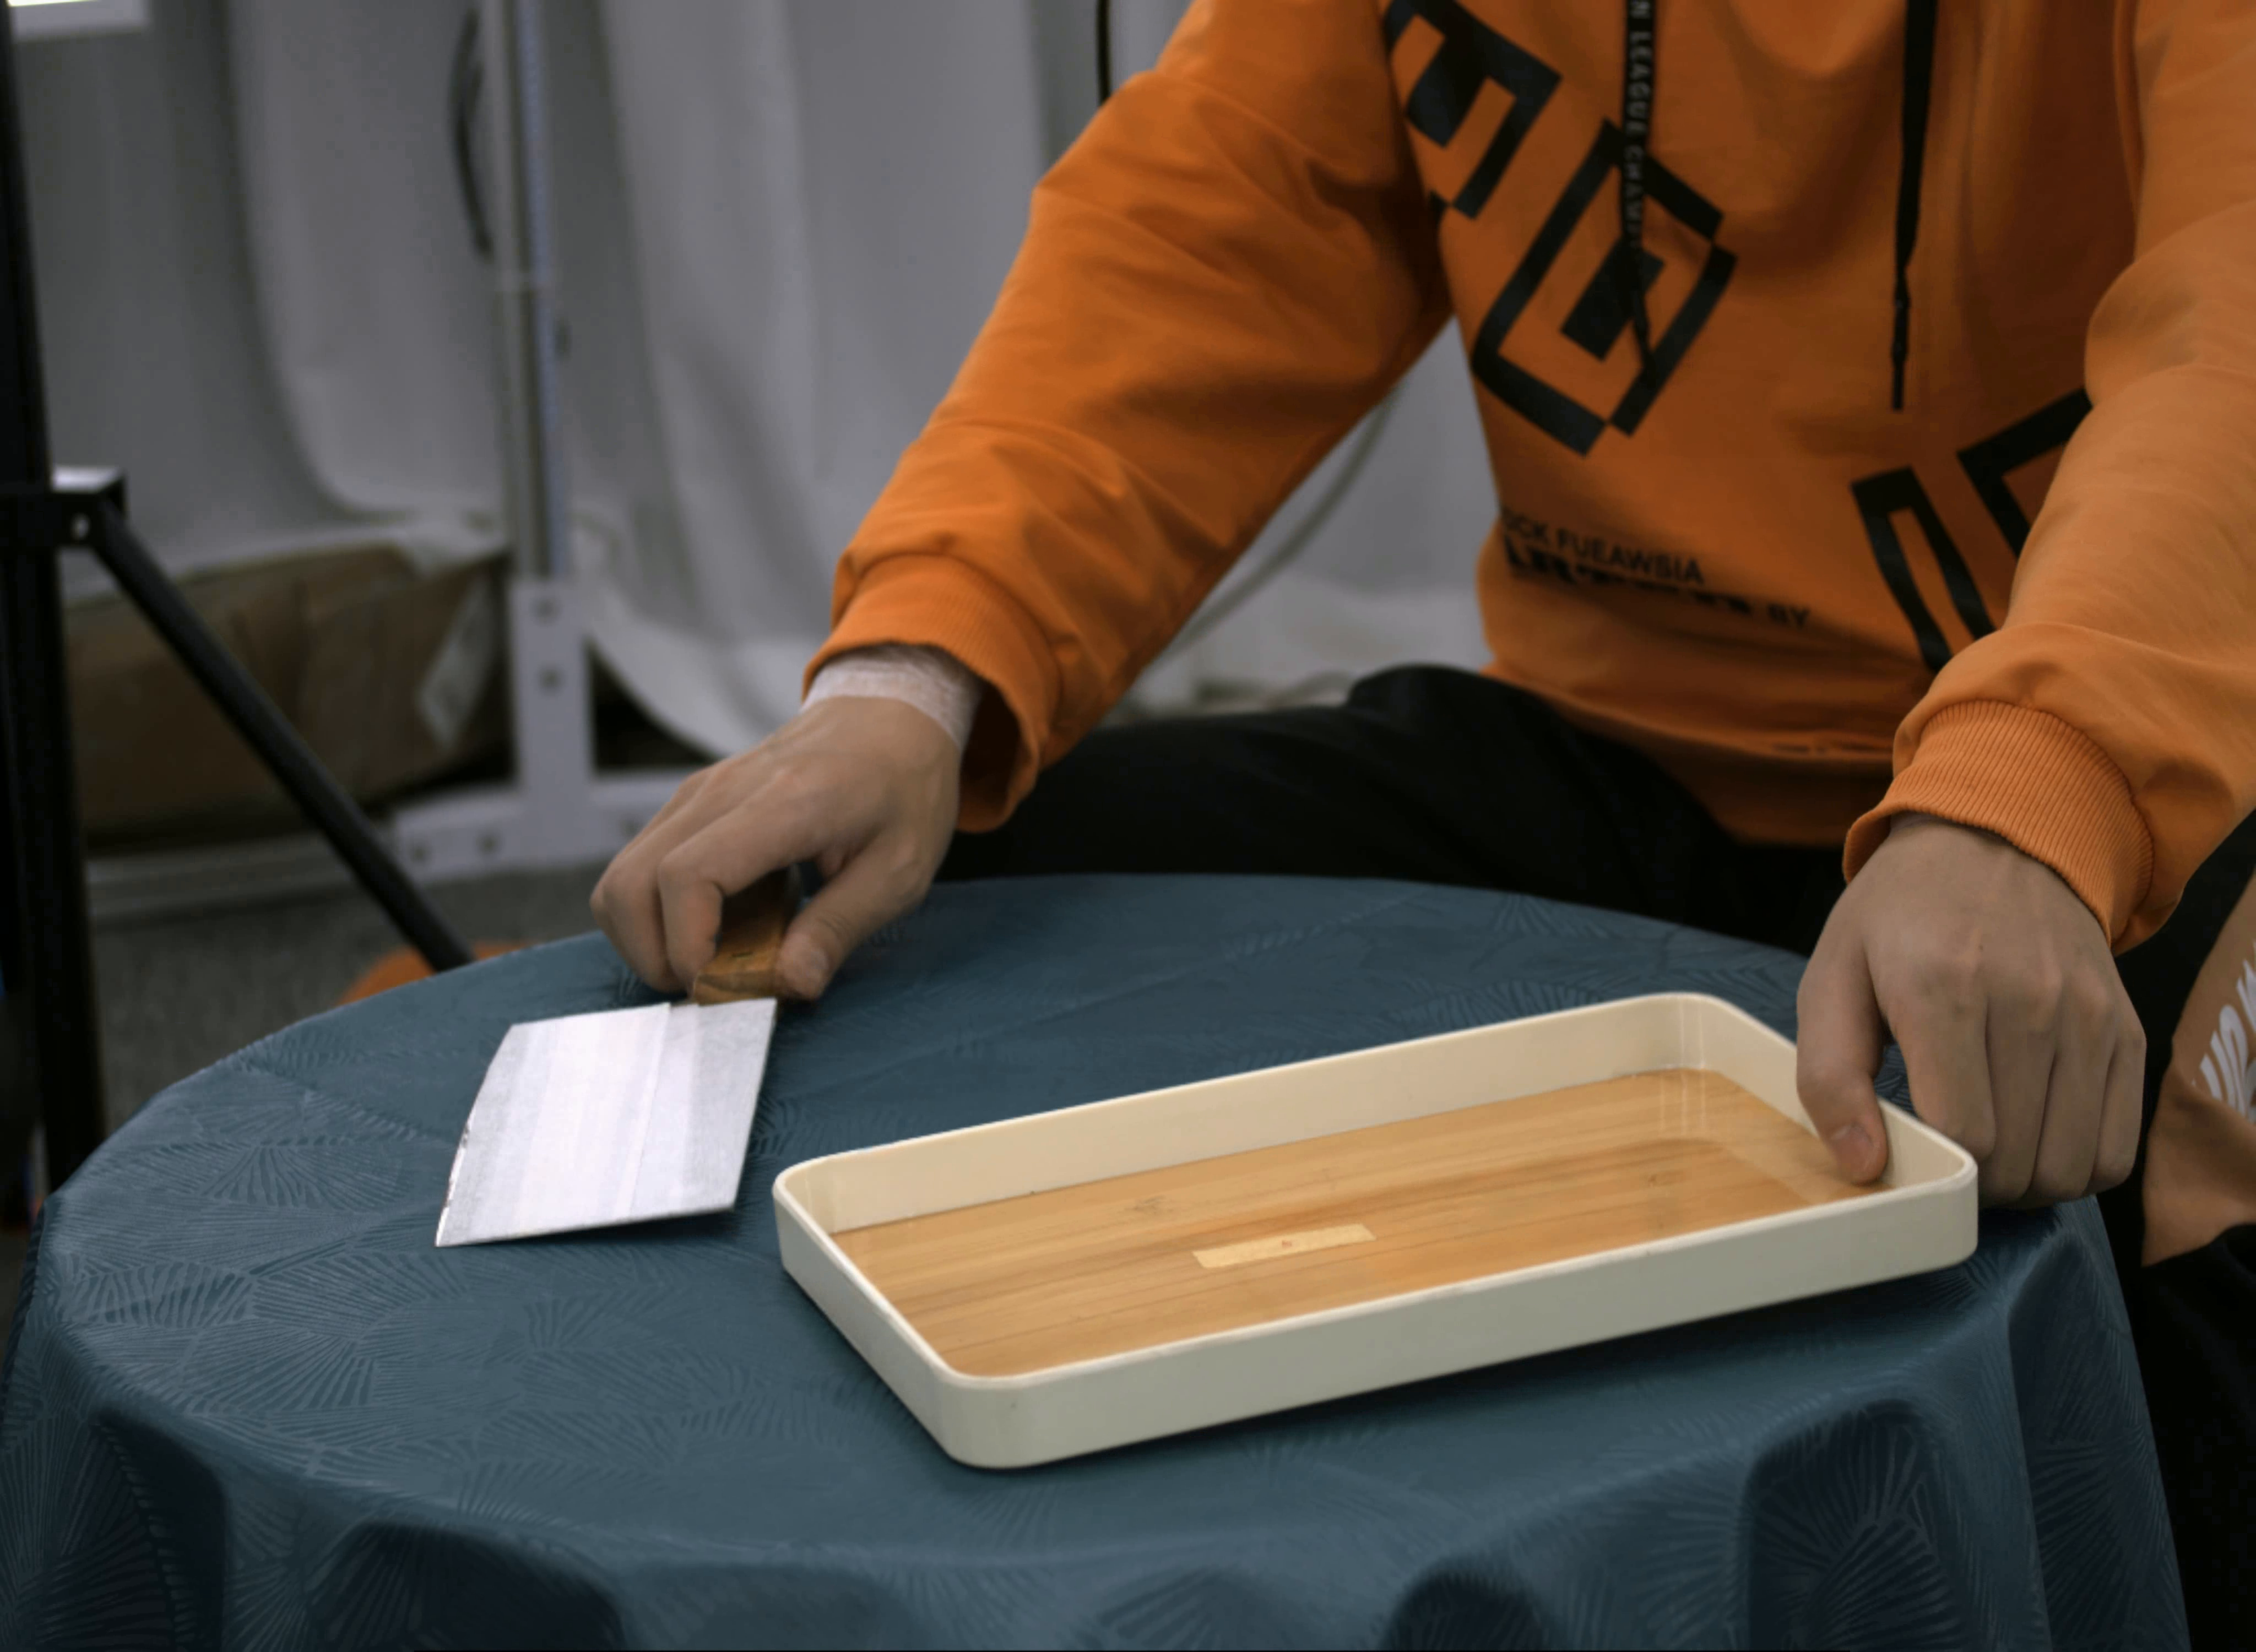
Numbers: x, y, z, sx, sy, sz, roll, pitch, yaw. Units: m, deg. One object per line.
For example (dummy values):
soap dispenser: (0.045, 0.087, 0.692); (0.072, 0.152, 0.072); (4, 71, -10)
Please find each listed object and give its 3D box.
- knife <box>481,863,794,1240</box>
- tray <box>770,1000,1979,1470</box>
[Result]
knife: (-0.154, 0.070, 1.685); (0.093, 0.021, 0.307); (-8, 17, 3)
tray: (0.066, 0.110, 1.473); (0.295, 0.027, 0.195); (-10, 17, -16)
